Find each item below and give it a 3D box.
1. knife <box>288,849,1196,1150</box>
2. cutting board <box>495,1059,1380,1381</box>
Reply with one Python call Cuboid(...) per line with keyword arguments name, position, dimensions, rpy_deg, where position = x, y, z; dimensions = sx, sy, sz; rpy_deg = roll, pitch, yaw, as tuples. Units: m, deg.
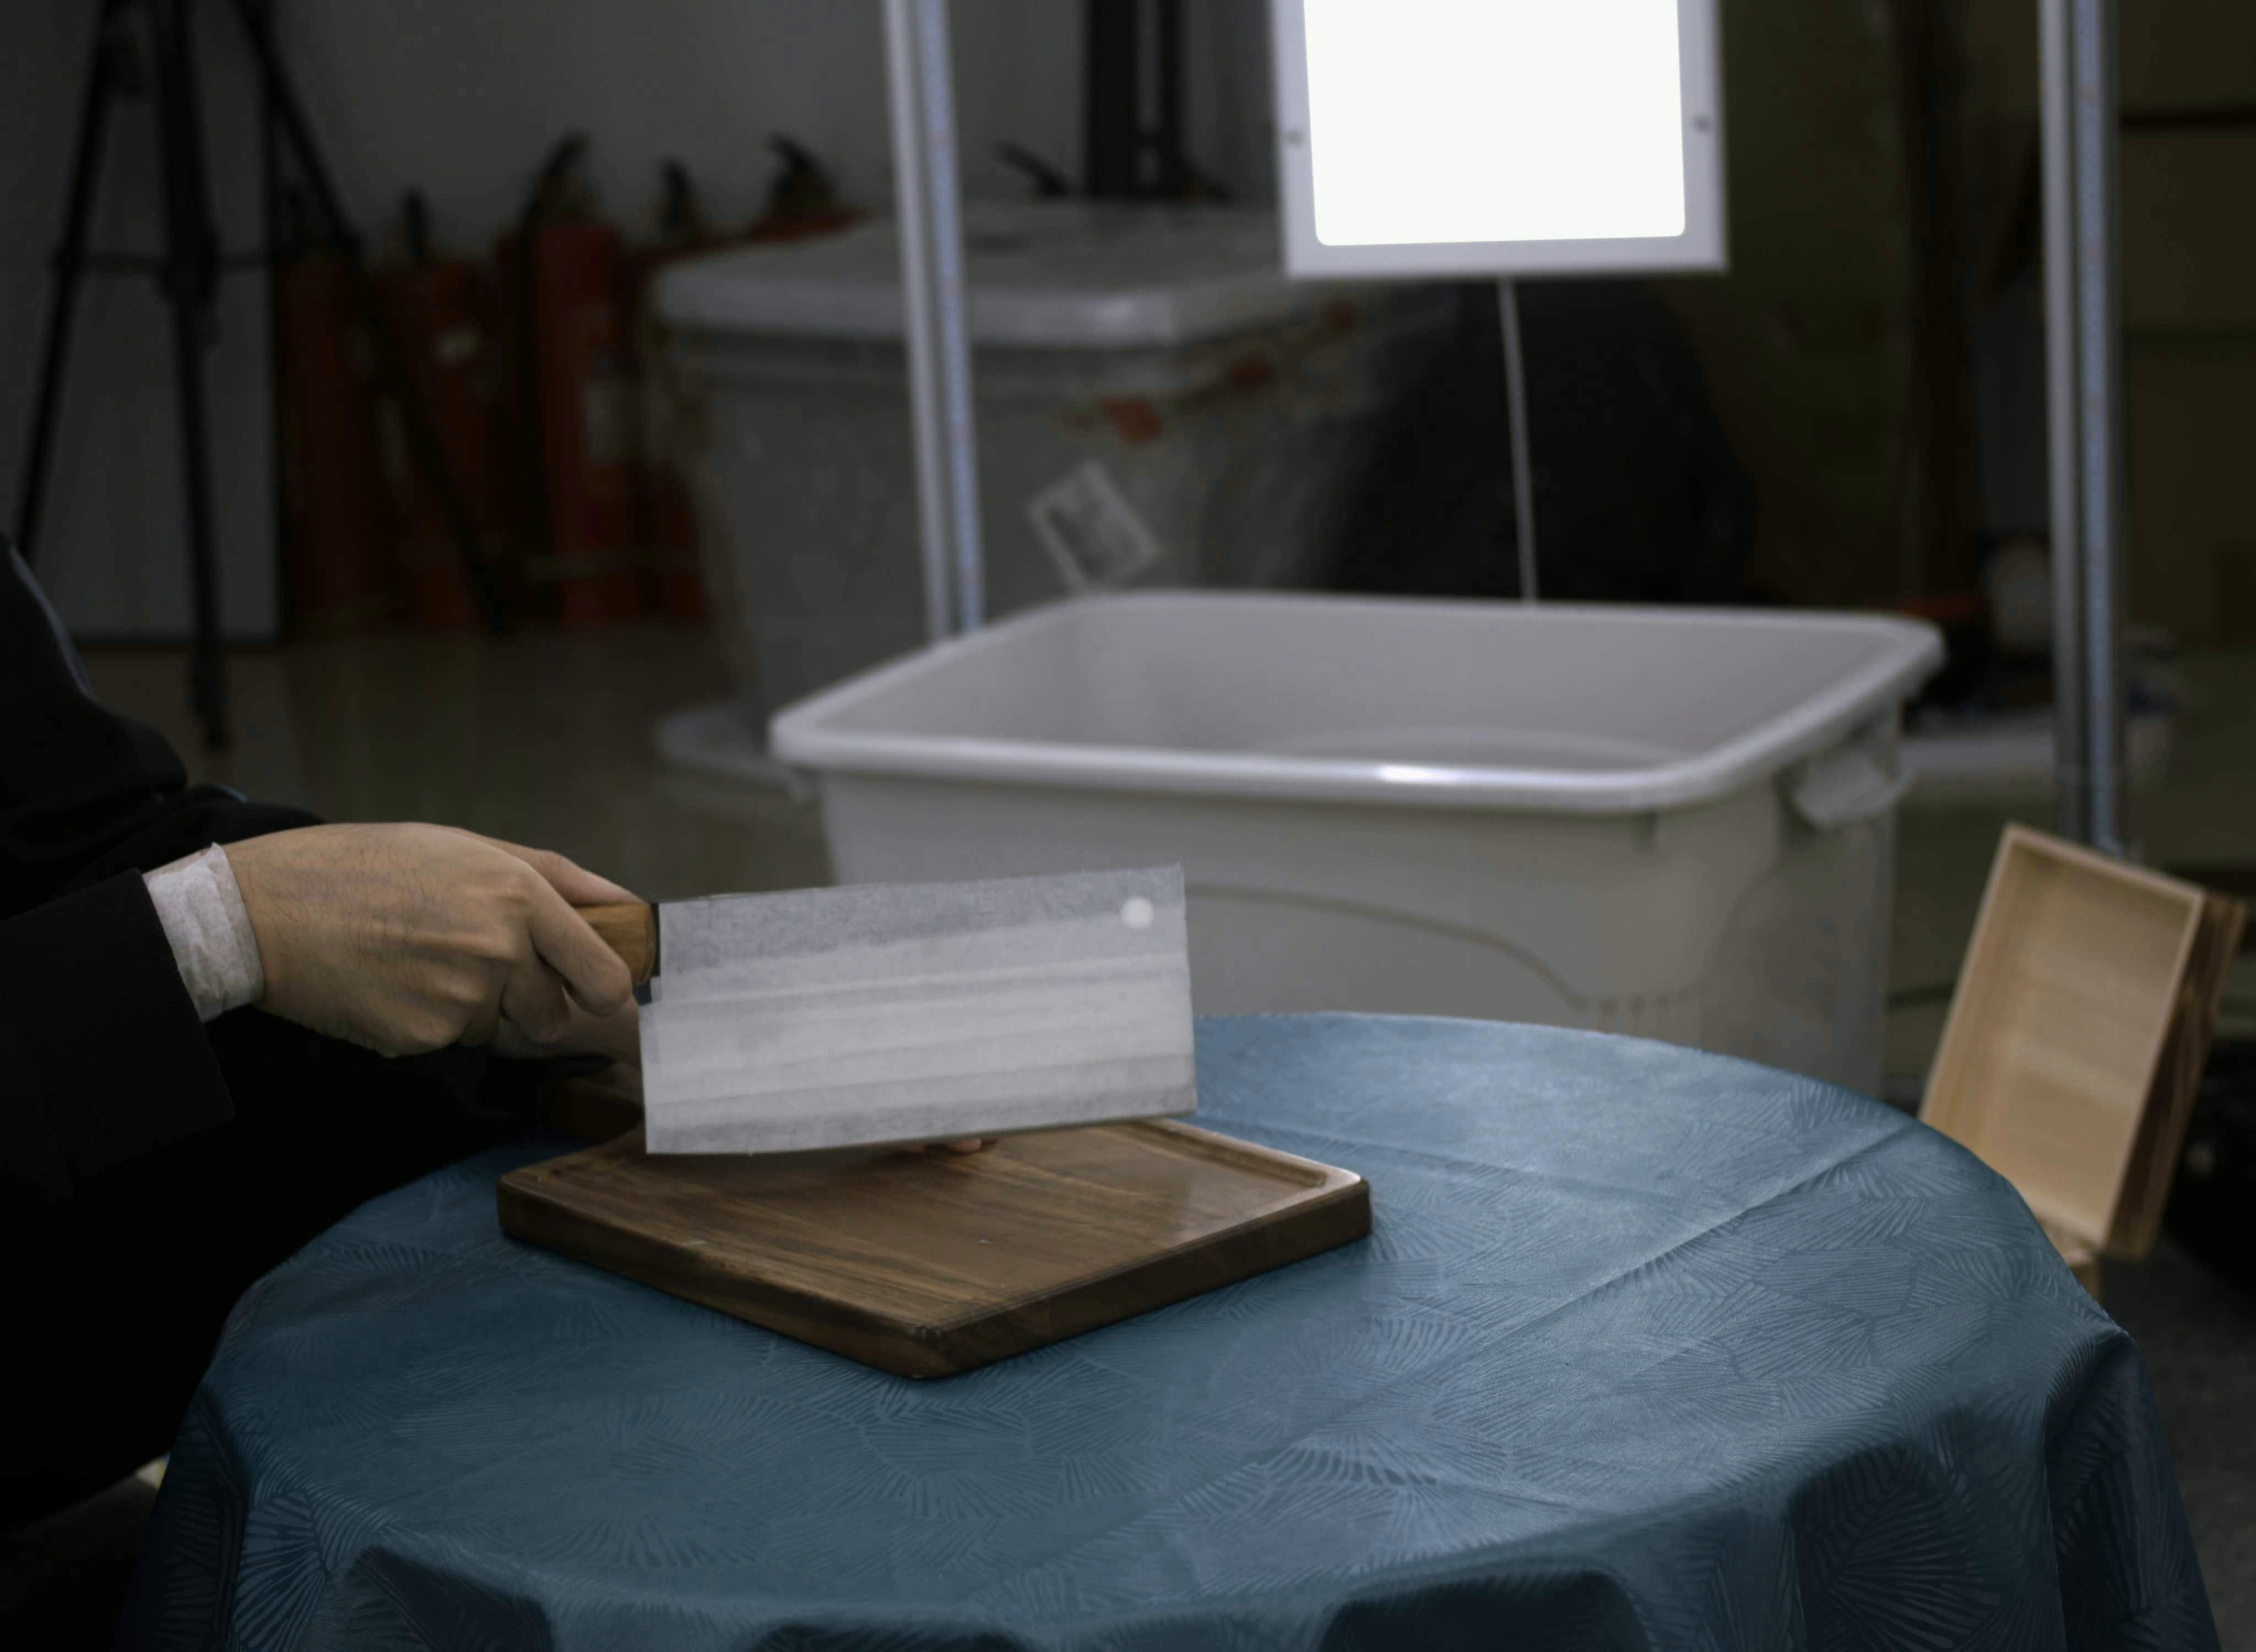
Cuboid(name="knife", position=(-0.129, 0.063, 1.873), dimensions=(0.305, 0.093, 0.021), rpy_deg=(-5, 13, 1))
Cuboid(name="cutting board", position=(-0.098, 0.121, 1.908), dimensions=(0.196, 0.023, 0.359), rpy_deg=(-15, 17, -36))
